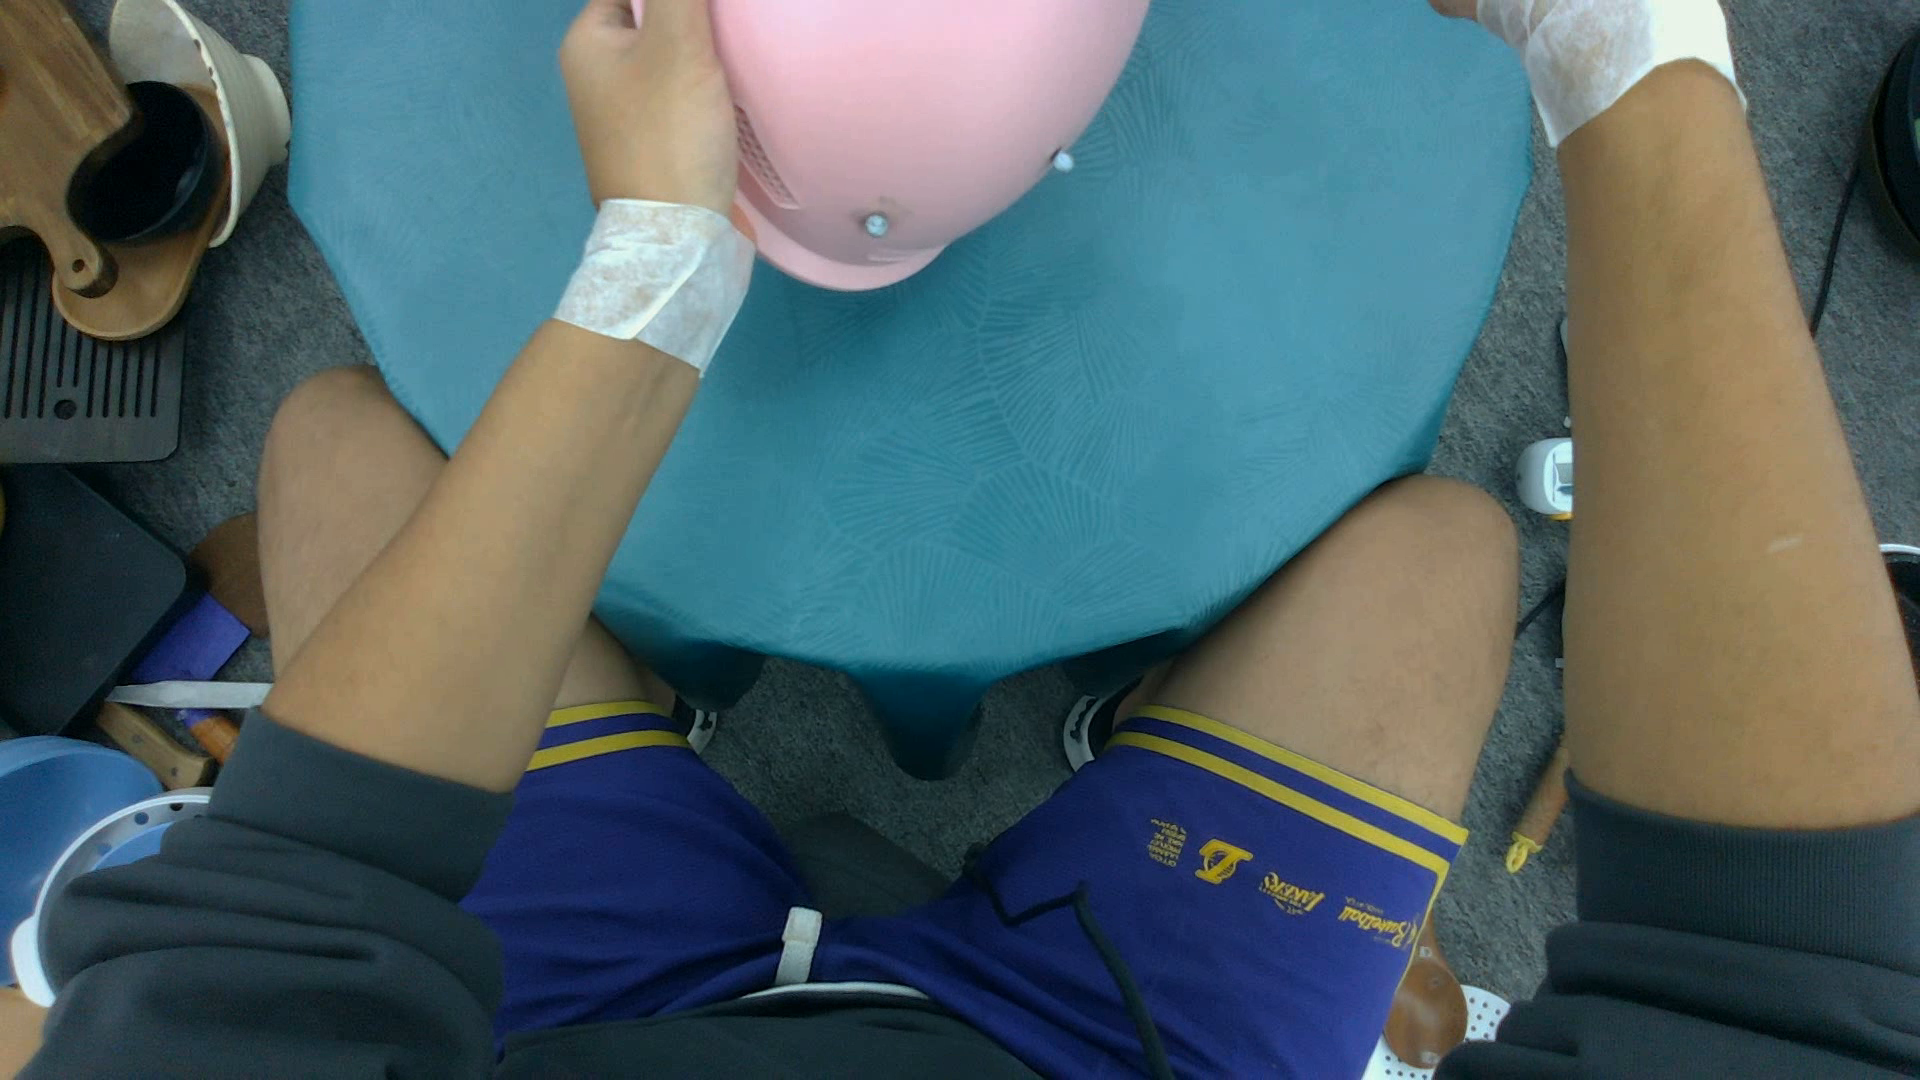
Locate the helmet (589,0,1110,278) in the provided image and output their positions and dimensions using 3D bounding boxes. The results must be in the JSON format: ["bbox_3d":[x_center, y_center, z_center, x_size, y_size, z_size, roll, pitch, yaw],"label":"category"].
[{"bbox_3d":[-0.024,-0.244,0.525,0.158,0.234,0.266,-8,74,37],"label":"helmet"}]
